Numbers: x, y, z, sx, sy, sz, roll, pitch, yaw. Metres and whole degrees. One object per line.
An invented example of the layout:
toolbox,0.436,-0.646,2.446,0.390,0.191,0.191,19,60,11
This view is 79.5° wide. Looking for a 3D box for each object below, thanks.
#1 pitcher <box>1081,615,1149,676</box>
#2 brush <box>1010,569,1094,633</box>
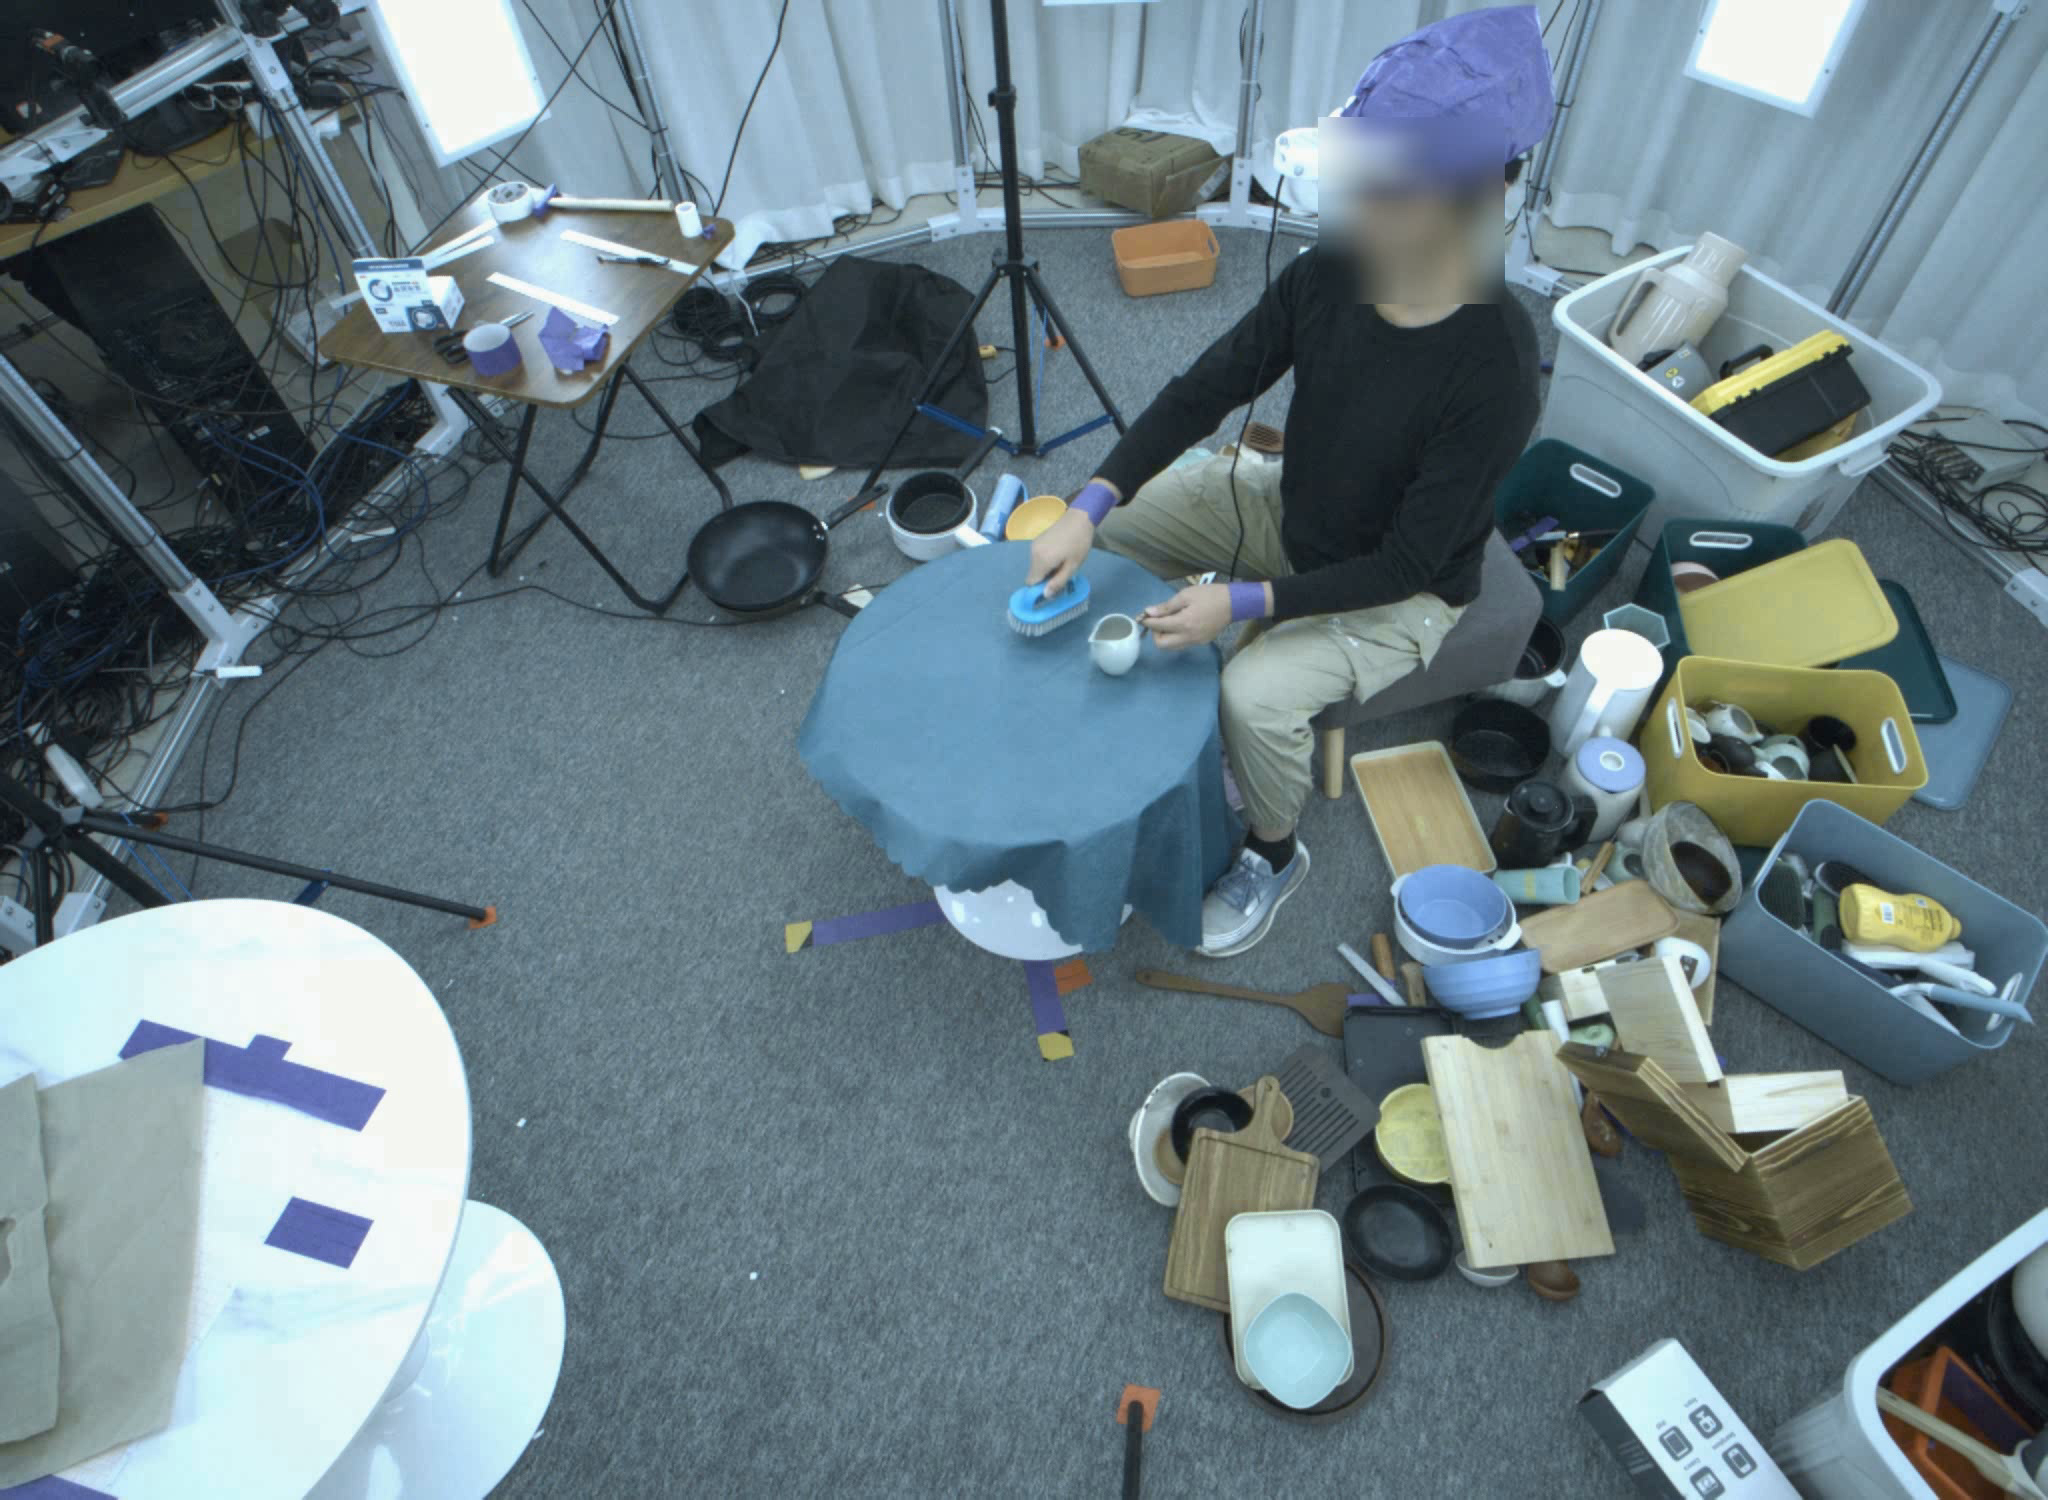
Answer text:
pitcher,0.136,-0.157,1.843,0.120,0.089,0.074,-29,64,-13
brush,0.041,-0.239,1.882,0.143,0.064,0.082,-27,56,-23
